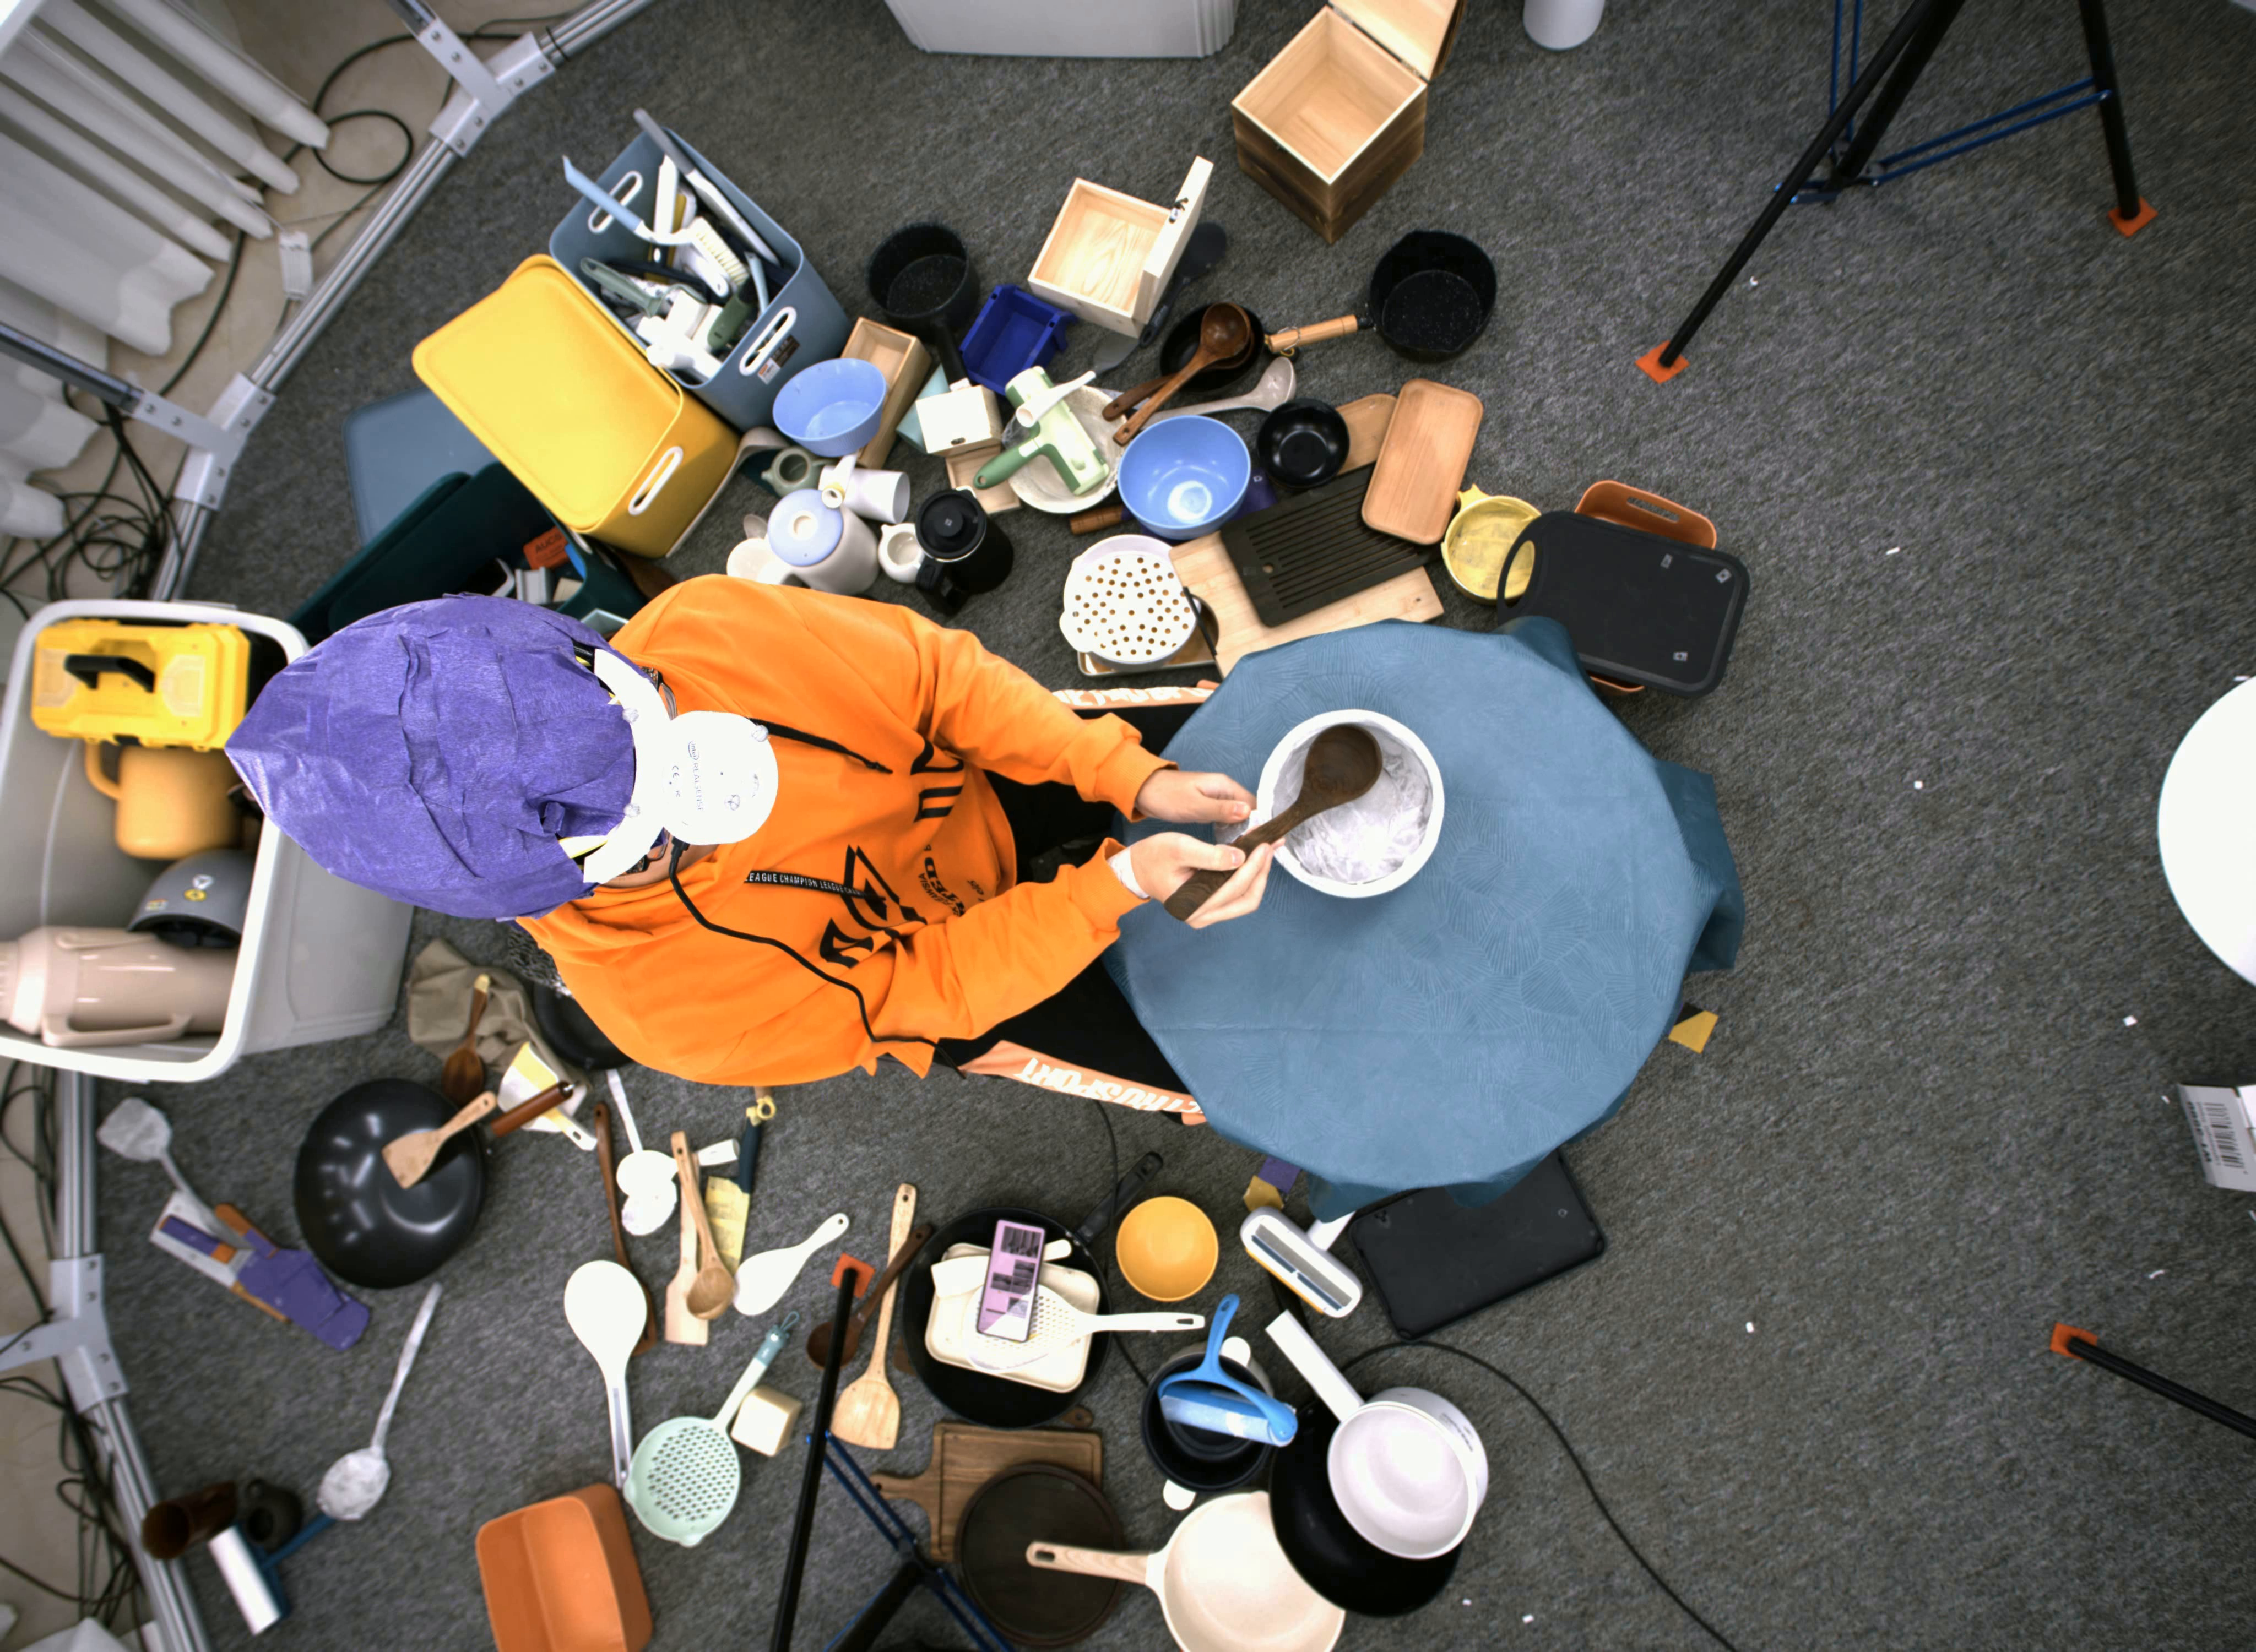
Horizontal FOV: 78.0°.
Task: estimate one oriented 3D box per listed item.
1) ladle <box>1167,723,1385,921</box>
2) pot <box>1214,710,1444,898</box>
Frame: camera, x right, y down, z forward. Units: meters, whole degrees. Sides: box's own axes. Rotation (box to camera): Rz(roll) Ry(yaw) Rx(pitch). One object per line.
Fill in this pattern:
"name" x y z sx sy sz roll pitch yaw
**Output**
"ladle" 0.136 -0.009 1.266 0.075 0.073 0.269 36 53 27
"pot" 0.197 -0.013 1.377 0.235 0.136 0.178 -11 84 12
